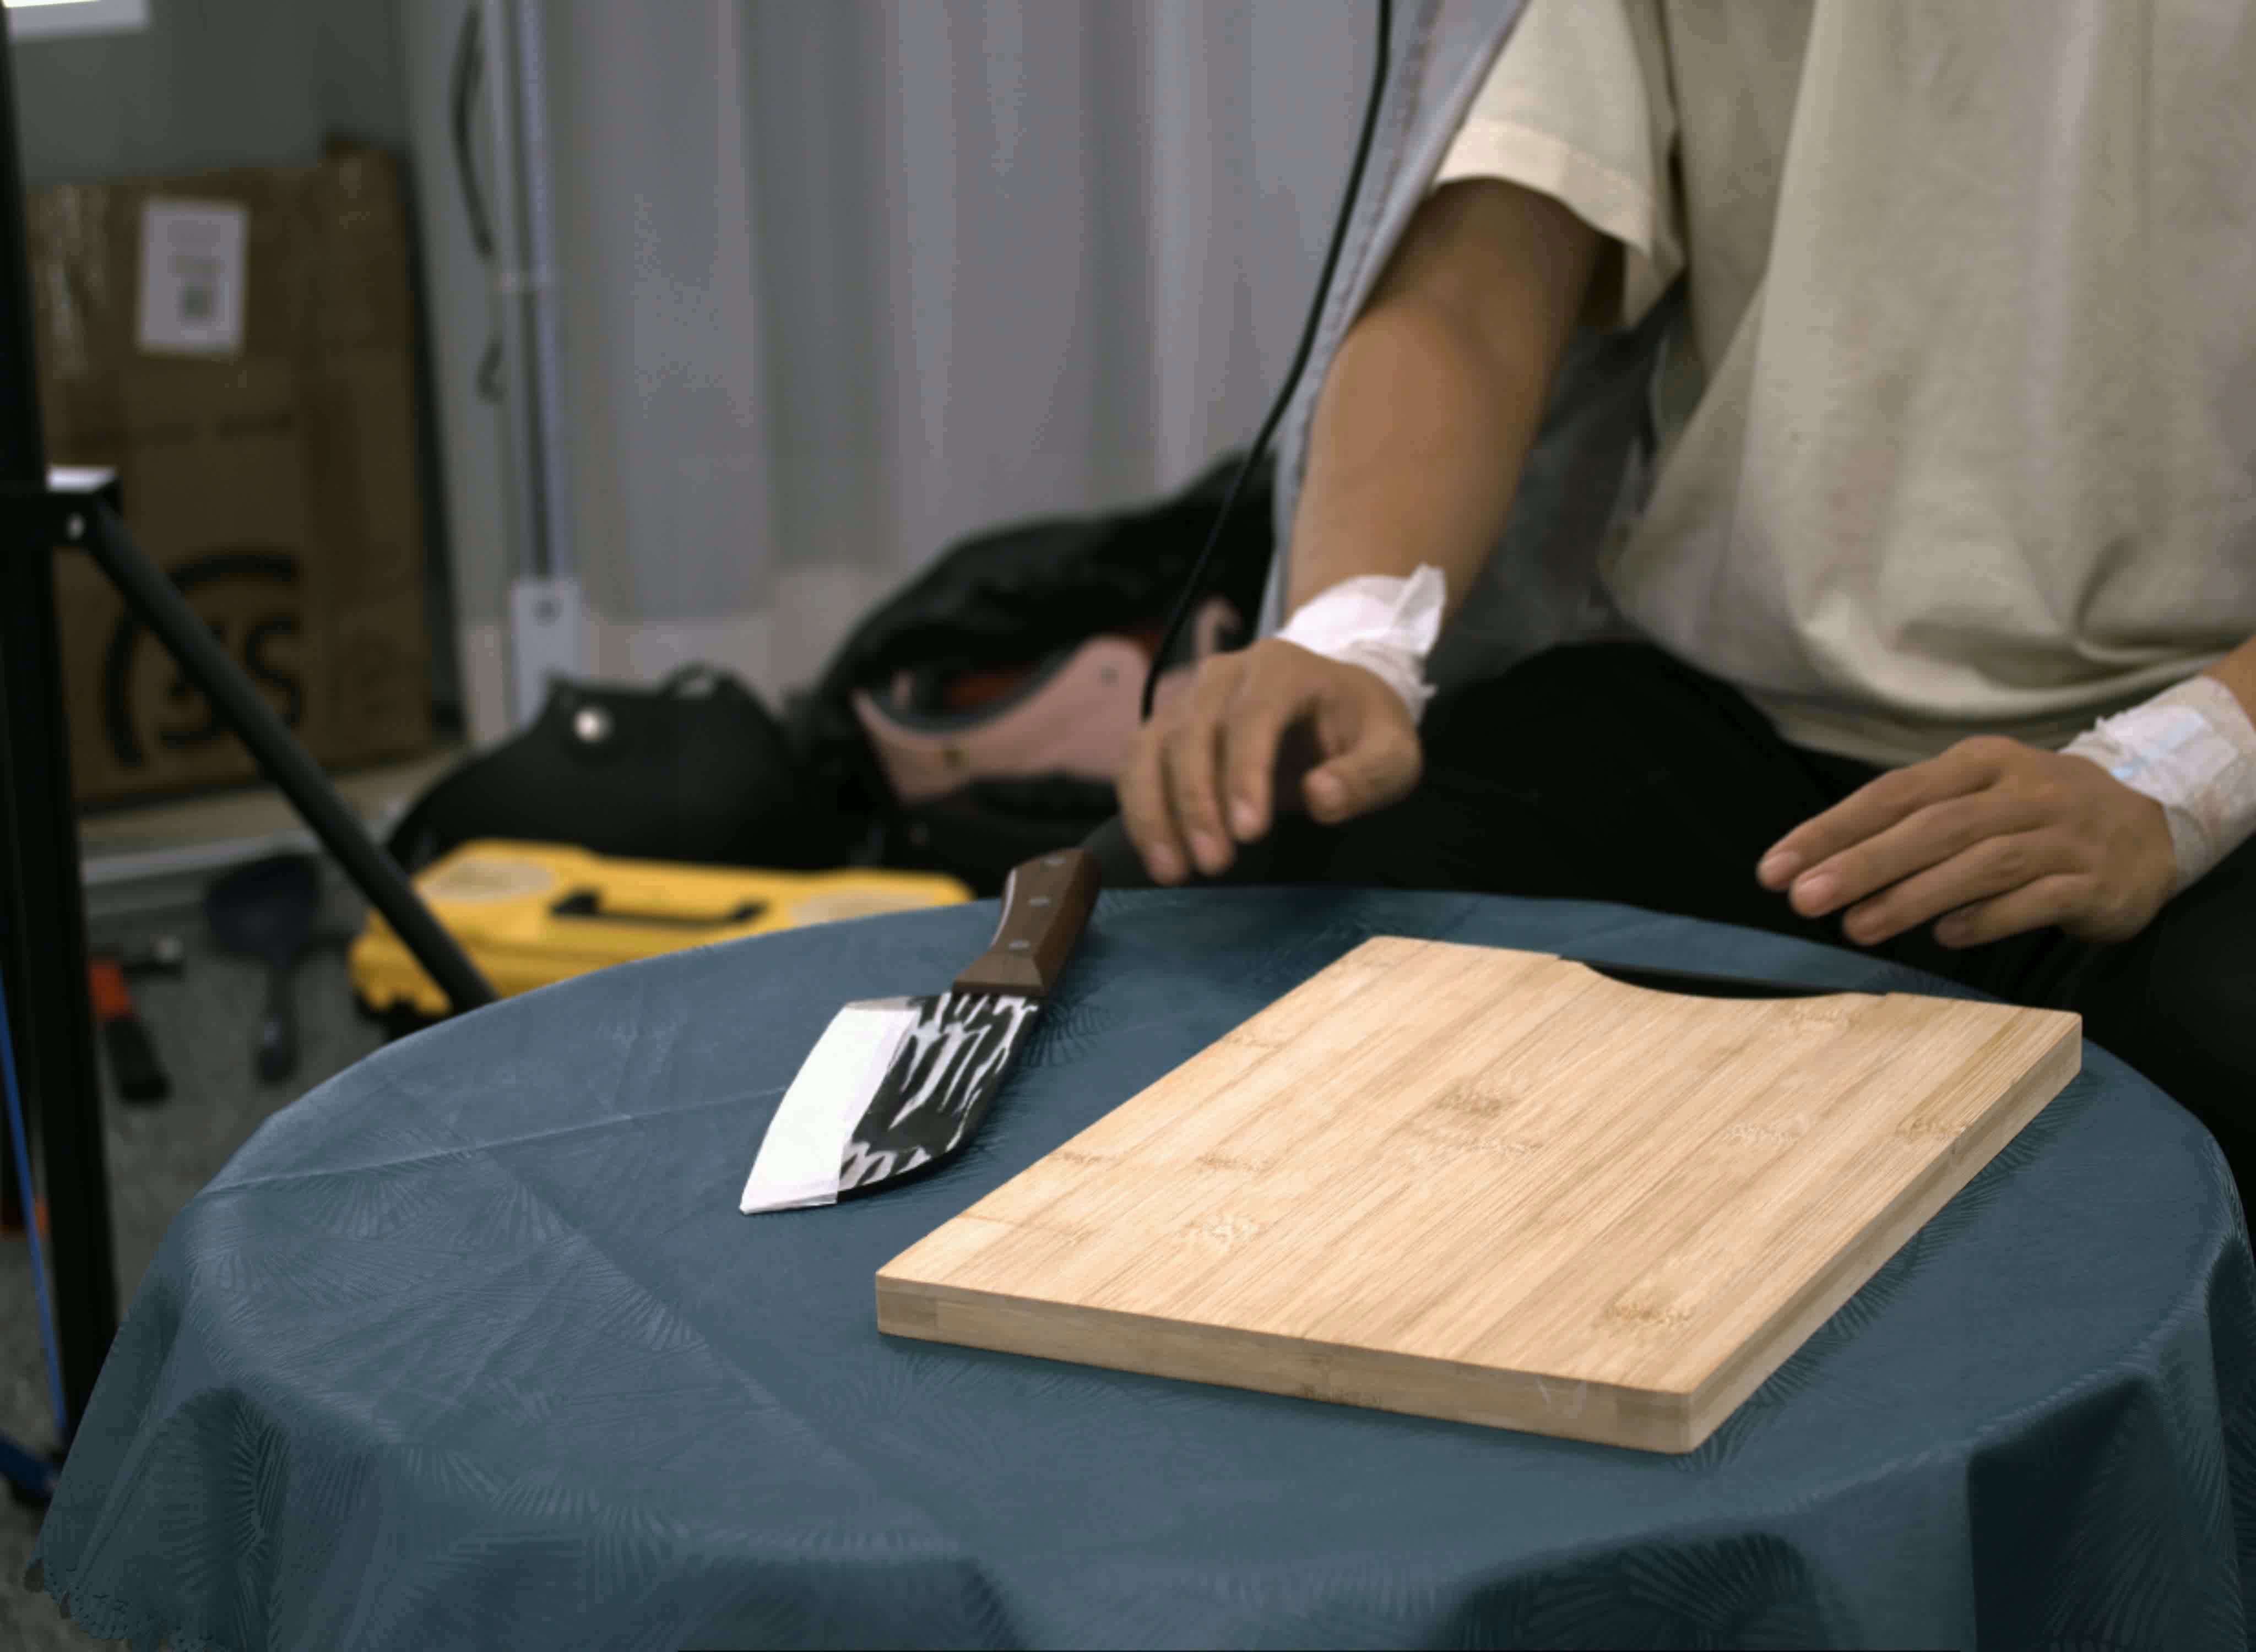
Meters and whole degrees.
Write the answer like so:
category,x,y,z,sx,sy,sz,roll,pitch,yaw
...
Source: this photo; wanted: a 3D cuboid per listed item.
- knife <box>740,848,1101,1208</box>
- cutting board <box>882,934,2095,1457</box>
category,x,y,z,sx,sy,sz,roll,pitch,yaw
knife,-0.063,0.064,1.688,0.068,0.024,0.298,-1,18,12
cutting board,0.115,0.098,1.542,0.254,0.023,0.343,6,17,26
